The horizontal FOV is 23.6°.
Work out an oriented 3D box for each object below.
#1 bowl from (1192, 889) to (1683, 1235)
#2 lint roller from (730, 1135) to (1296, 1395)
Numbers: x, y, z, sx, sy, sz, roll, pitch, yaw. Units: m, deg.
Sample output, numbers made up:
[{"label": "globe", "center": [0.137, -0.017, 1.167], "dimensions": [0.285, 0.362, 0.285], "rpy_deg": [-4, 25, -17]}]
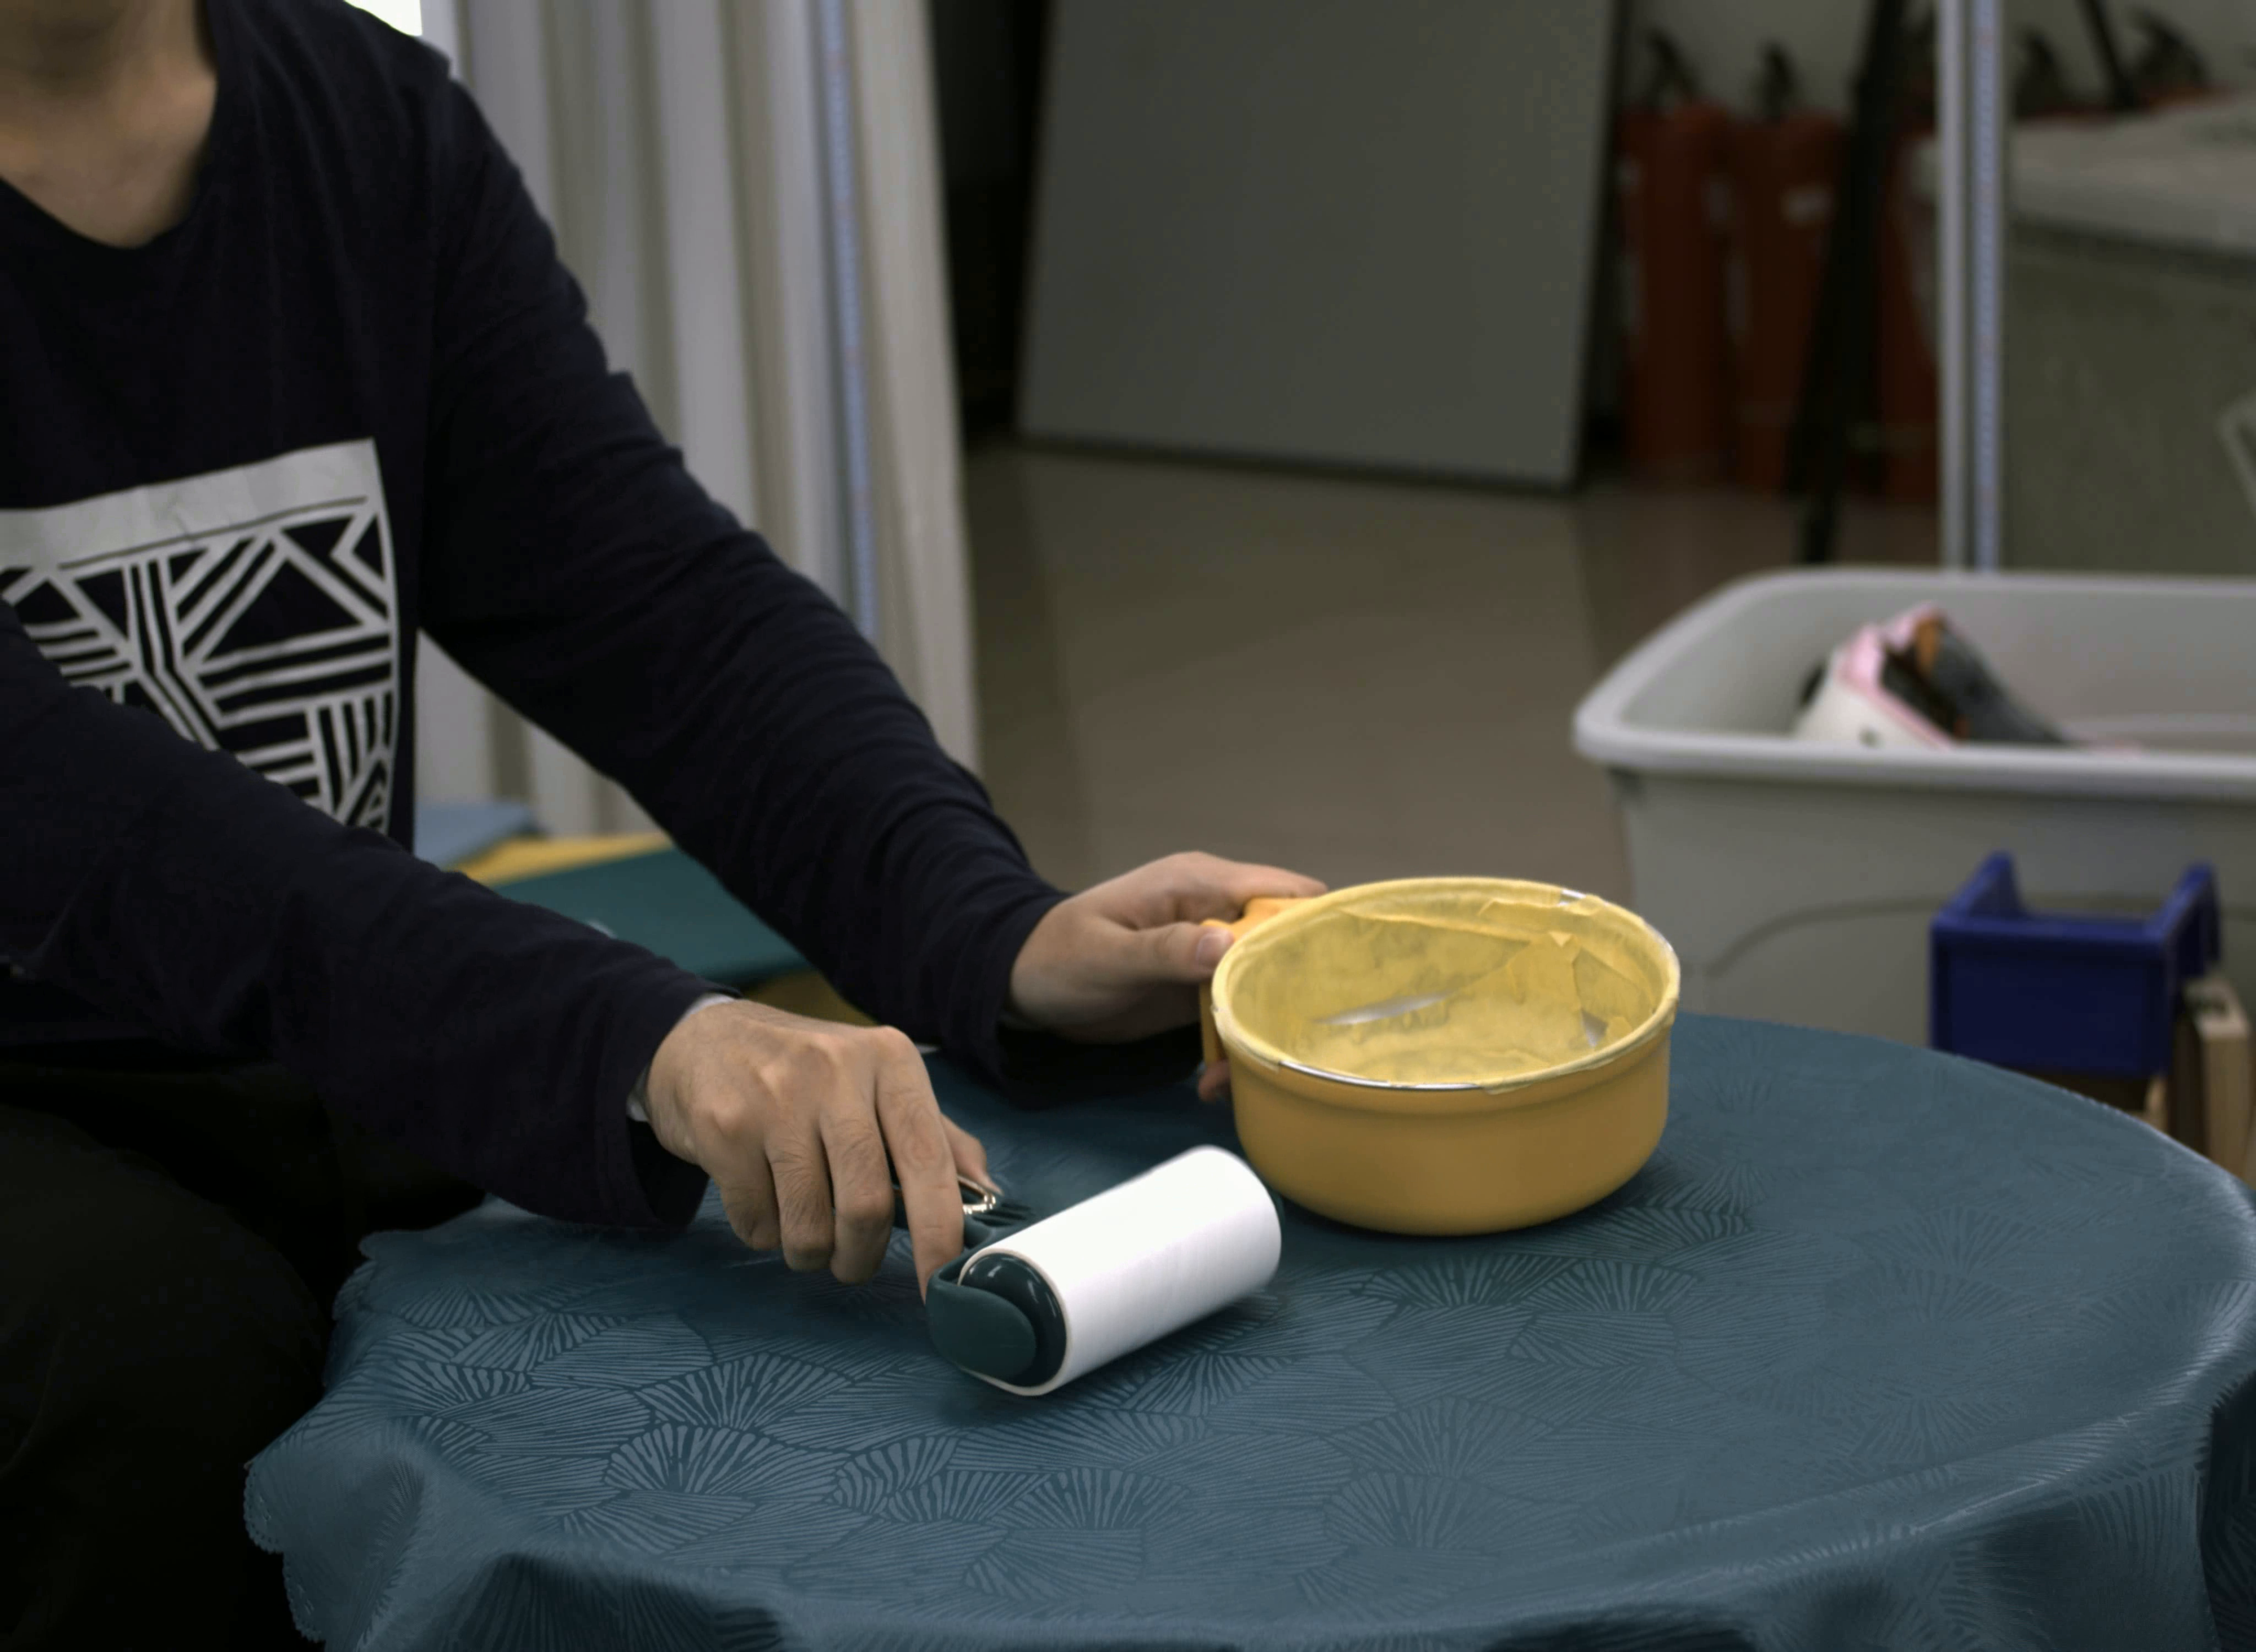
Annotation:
[{"label": "bowl", "center": [0.095, 0.075, 1.760], "dimensions": [0.180, 0.075, 0.150], "rpy_deg": [16, 32, 38]}, {"label": "lint roller", "center": [-0.054, 0.113, 1.656], "dimensions": [0.181, 0.049, 0.132], "rpy_deg": [19, 29, 37]}]
